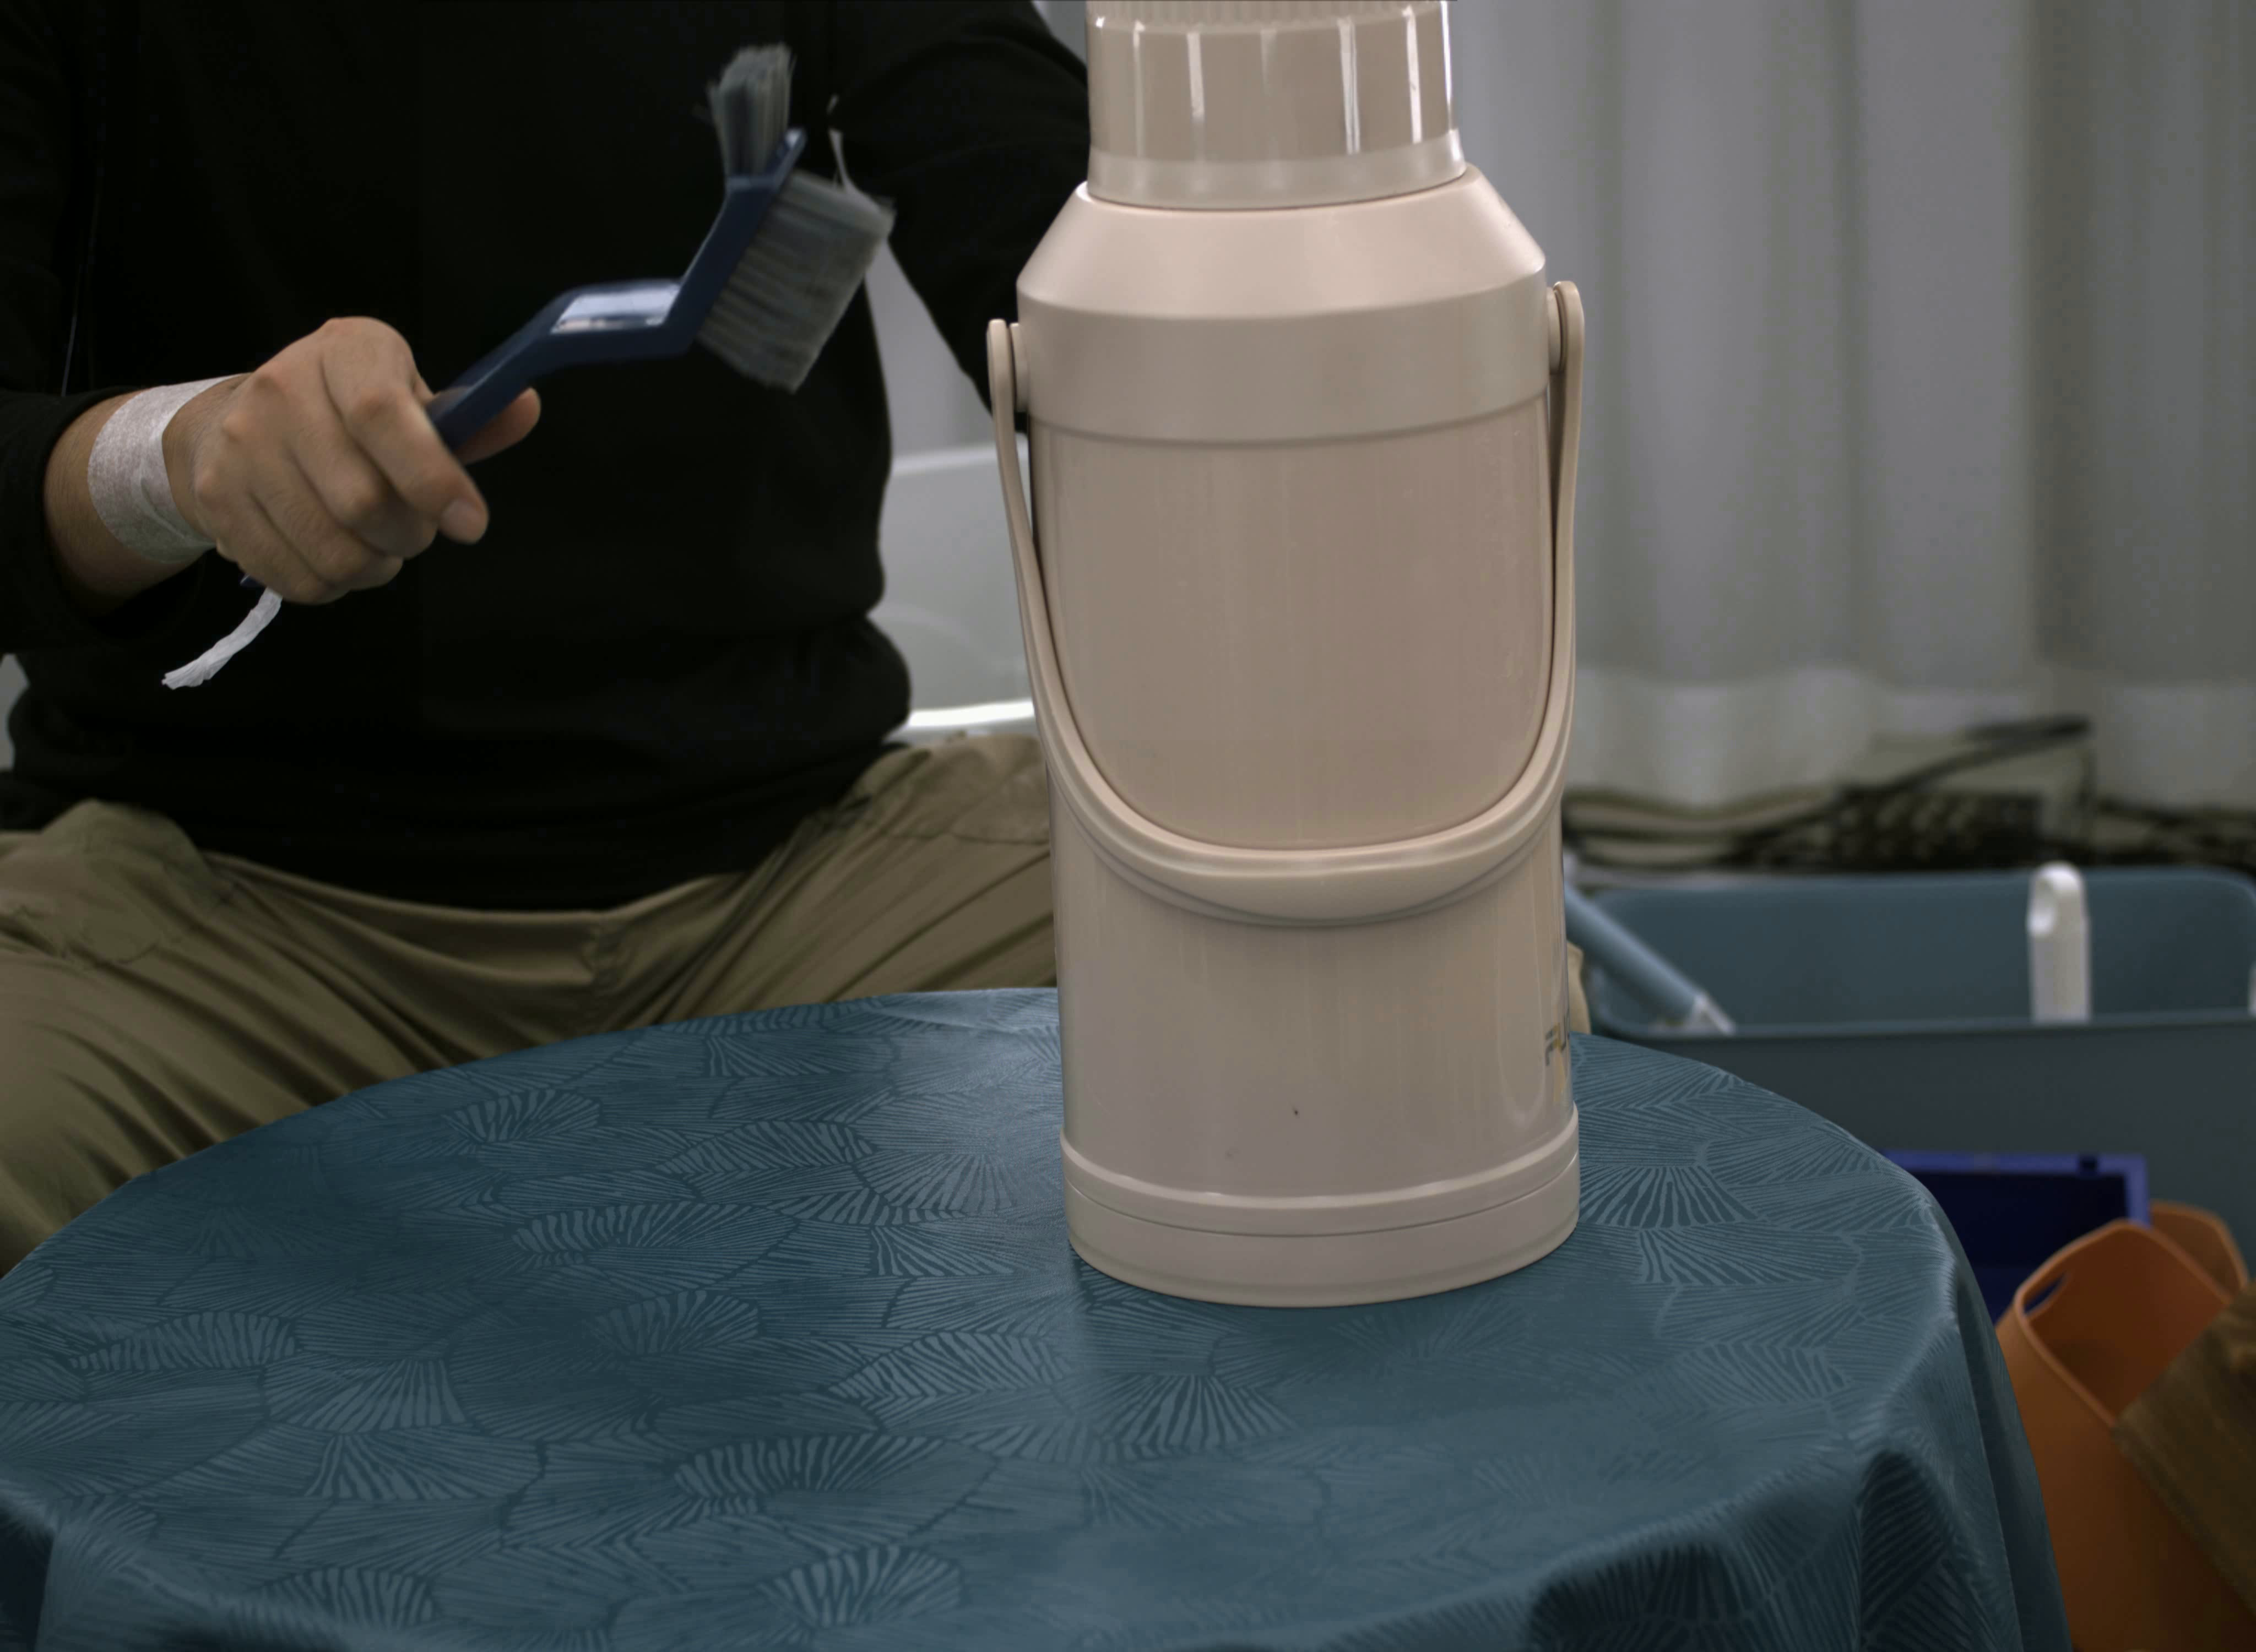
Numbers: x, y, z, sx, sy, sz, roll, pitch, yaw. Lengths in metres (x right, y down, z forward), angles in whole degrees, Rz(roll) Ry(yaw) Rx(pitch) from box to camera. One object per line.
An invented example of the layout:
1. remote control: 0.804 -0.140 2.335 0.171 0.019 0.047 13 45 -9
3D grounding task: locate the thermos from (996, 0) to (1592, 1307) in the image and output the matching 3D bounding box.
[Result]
1. thermos: 0.052 -0.074 1.647 0.174 0.405 0.208 -6 14 -5

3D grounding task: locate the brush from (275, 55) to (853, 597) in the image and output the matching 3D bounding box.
1. brush: -0.180 -0.140 1.602 0.272 0.095 0.034 -22 31 40
